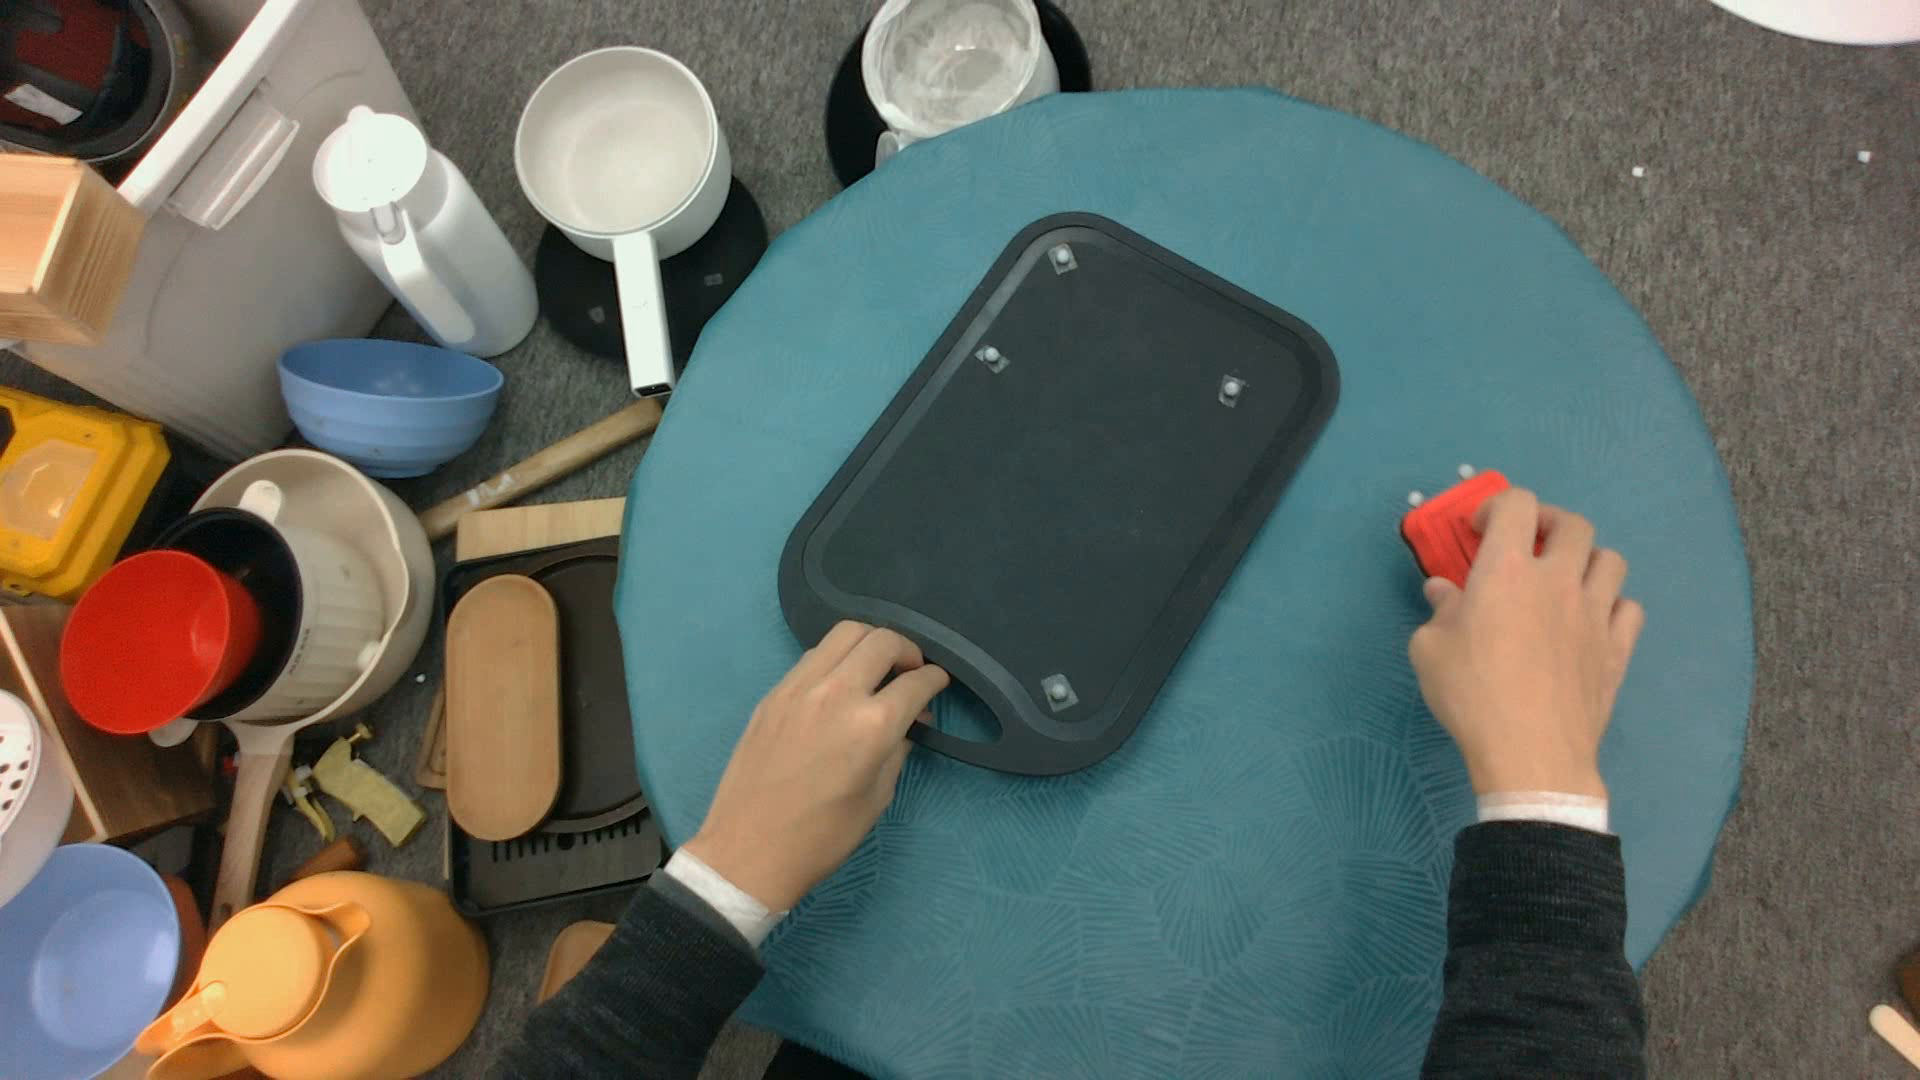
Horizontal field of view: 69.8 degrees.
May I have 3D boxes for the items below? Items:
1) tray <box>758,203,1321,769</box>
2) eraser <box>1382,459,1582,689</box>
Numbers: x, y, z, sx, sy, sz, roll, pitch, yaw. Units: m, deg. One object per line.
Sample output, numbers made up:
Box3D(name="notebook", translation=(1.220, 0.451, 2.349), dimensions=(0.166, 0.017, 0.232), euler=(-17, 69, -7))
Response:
Box3D(name="tray", translation=(0.044, -0.037, 0.738), dimensions=(0.211, 0.010, 0.326), euler=(31, 70, 12))
Box3D(name="eraser", translation=(0.263, 0.017, 0.695), dimensions=(0.059, 0.023, 0.108), euler=(-26, 82, -15))
